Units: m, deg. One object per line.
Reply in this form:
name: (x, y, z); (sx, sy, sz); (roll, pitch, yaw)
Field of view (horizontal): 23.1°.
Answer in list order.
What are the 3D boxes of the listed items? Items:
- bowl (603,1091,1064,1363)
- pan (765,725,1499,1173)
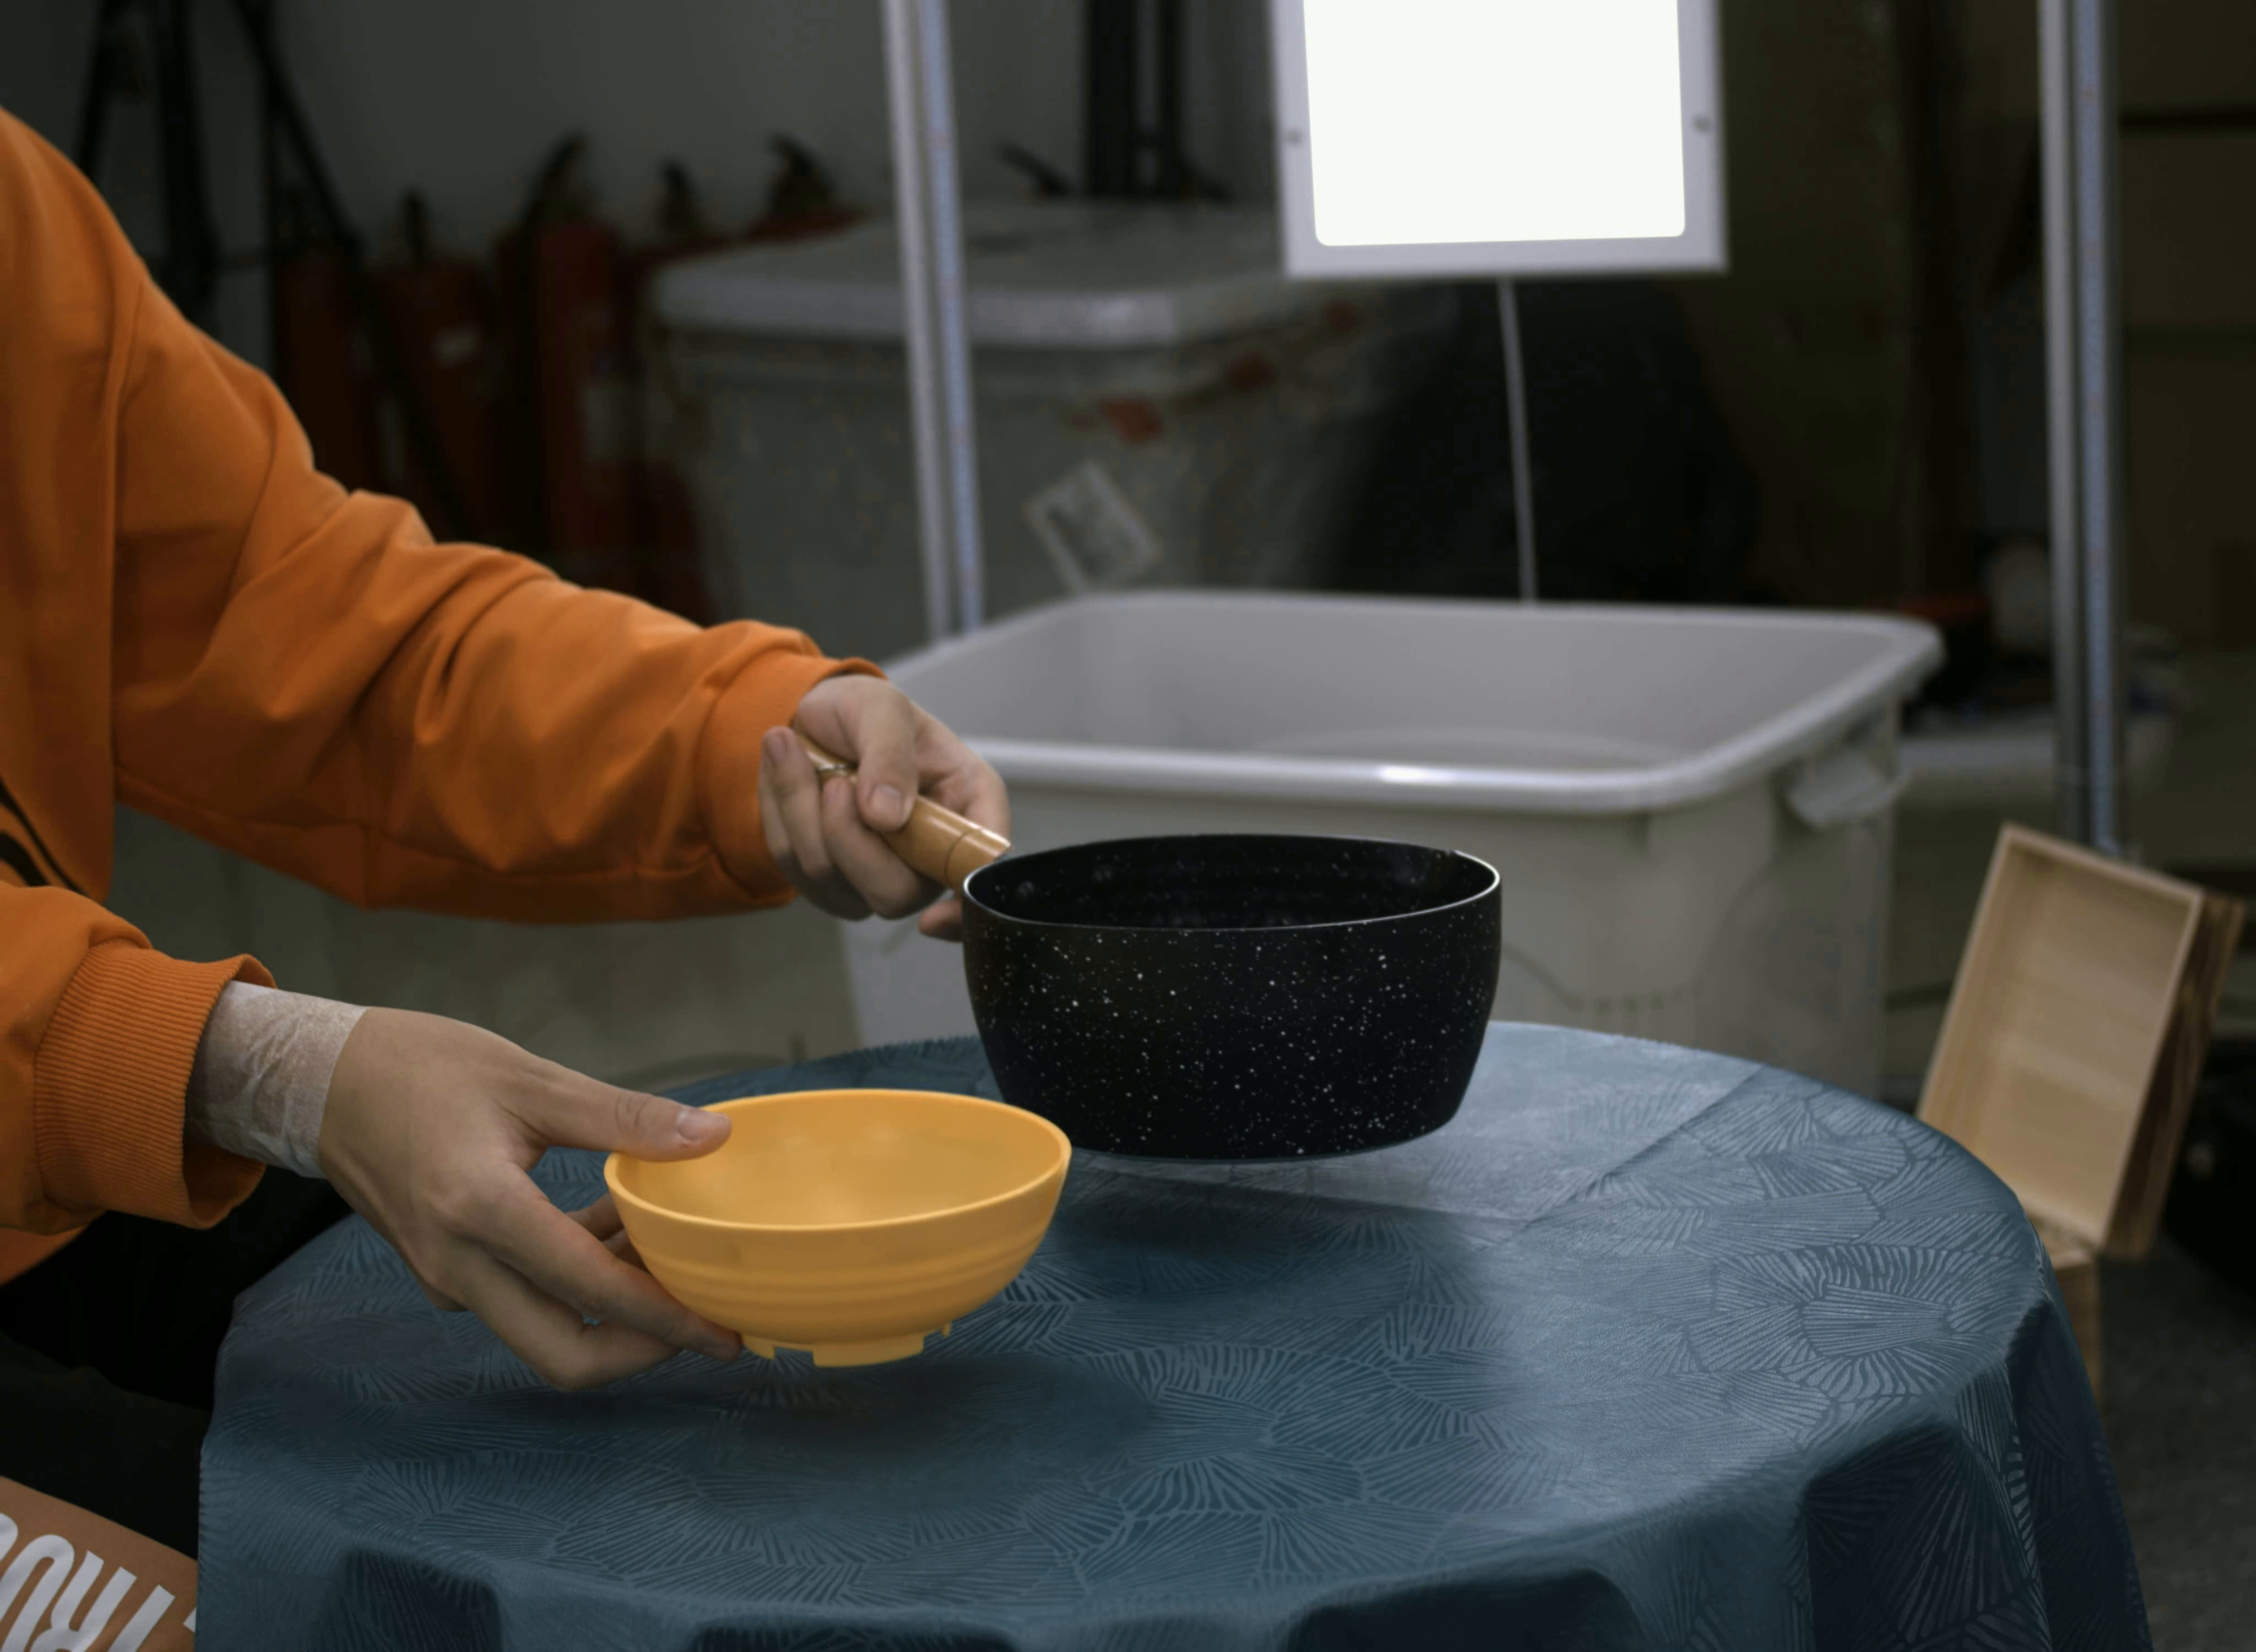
bowl: (-0.090, 0.129, 1.711); (0.145, 0.060, 0.145); (-3, 13, -1)
pan: (-0.018, 0.038, 1.927); (0.202, 0.108, 0.350); (-11, 15, -39)
